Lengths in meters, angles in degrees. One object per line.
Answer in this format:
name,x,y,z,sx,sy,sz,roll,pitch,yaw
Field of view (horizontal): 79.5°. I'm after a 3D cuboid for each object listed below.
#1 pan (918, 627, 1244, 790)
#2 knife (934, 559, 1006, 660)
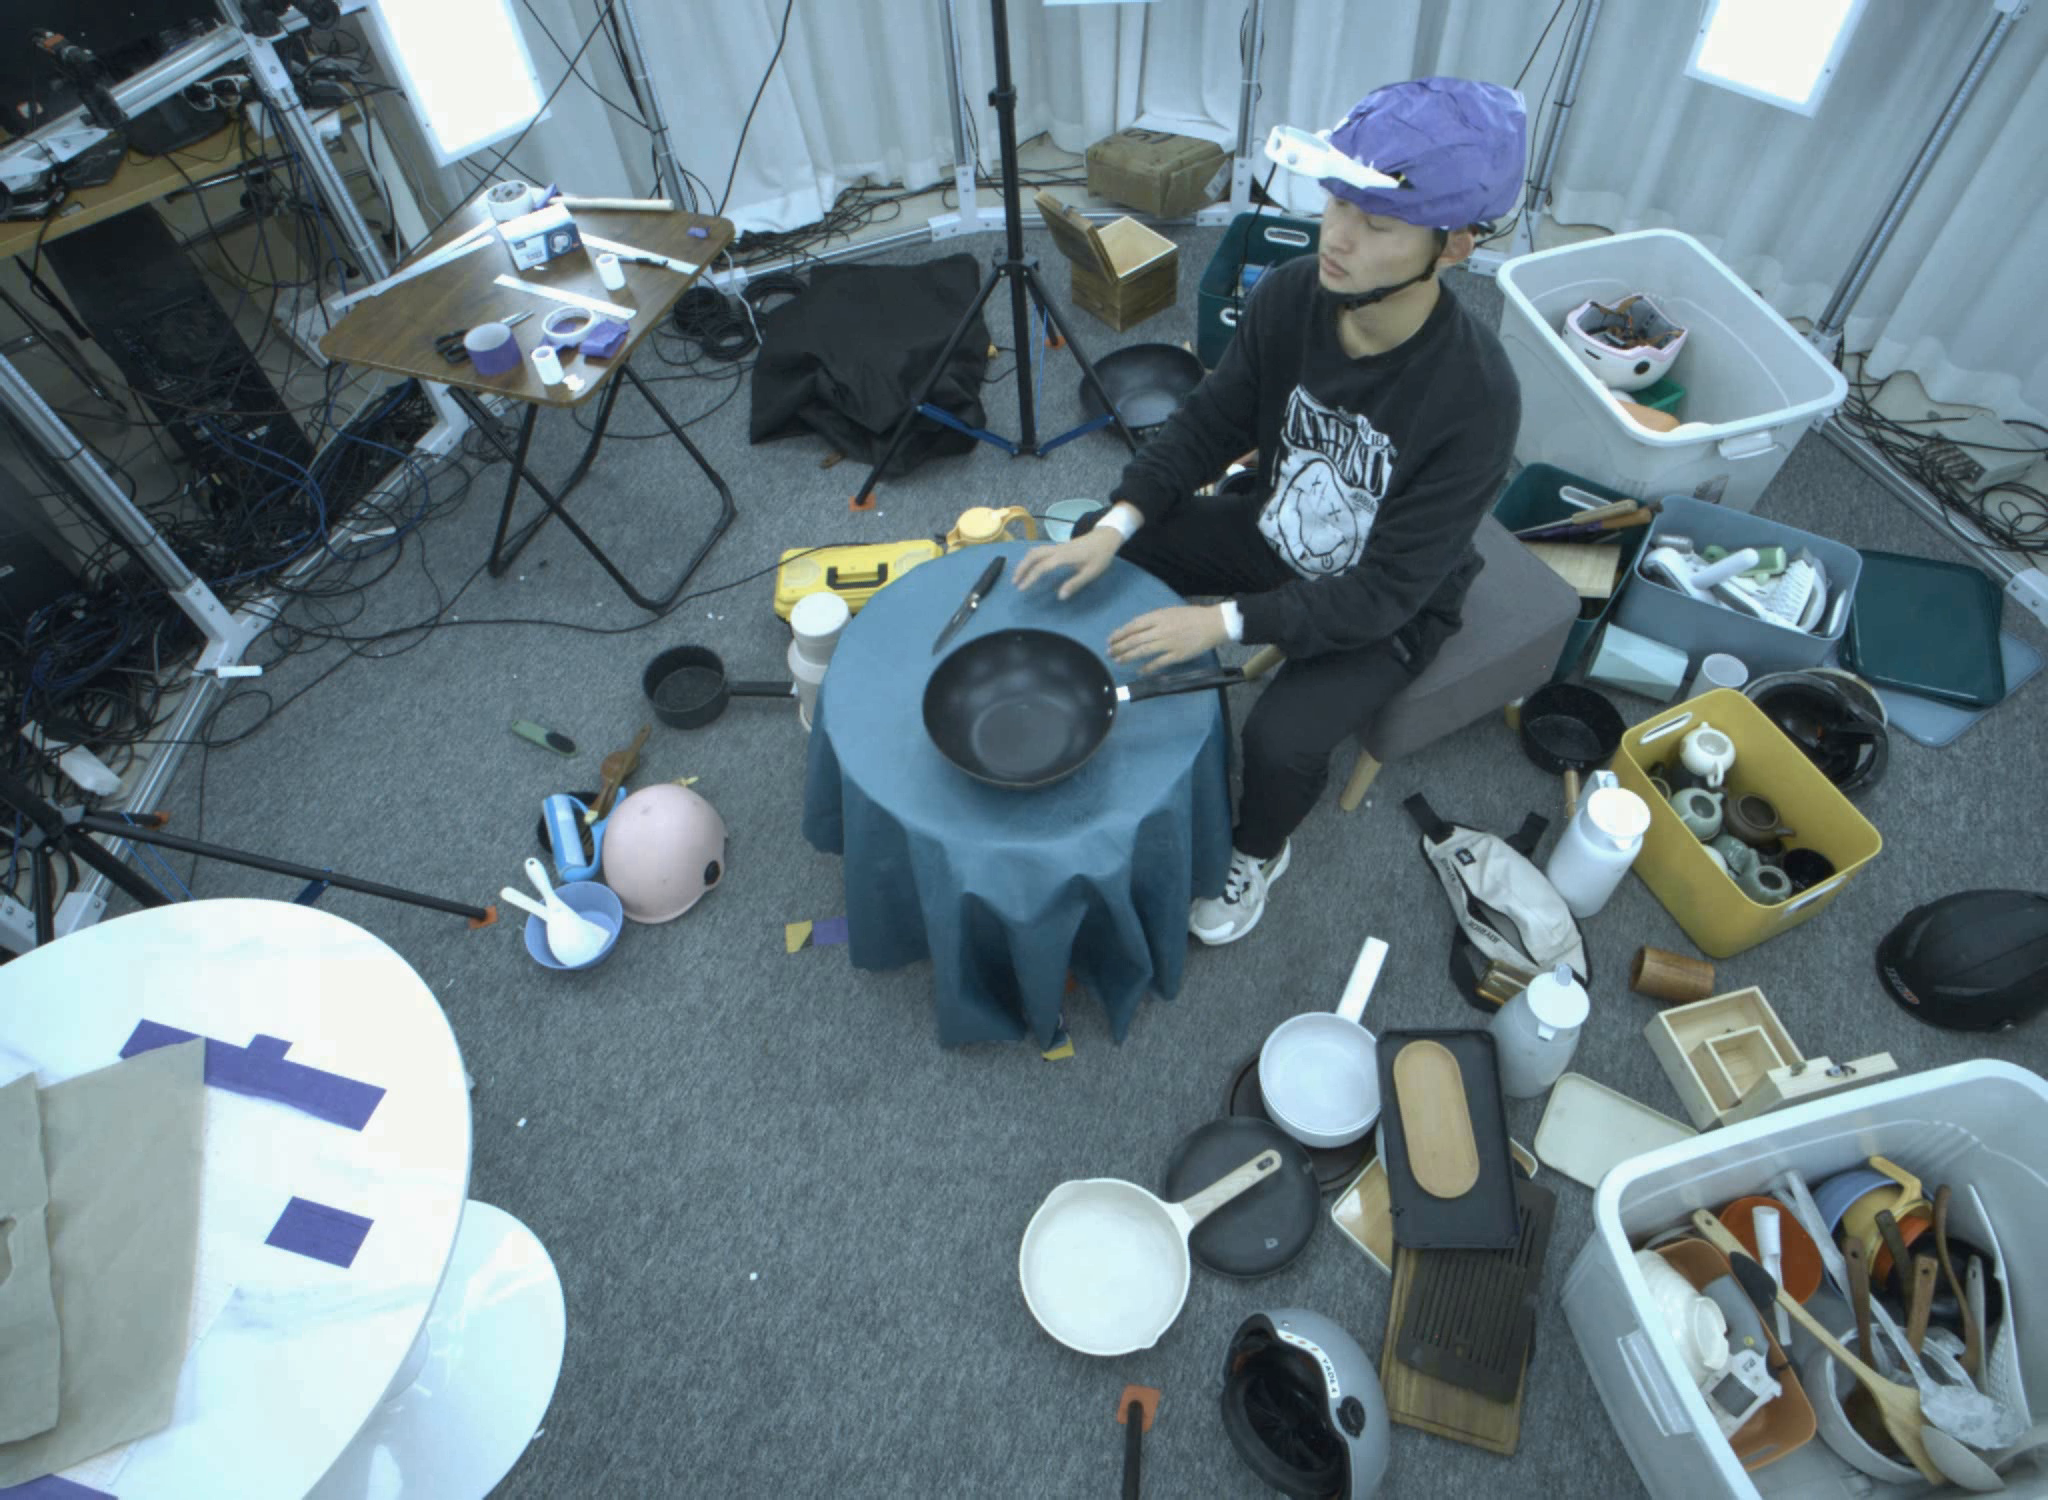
pan,0.082,-0.057,1.772,0.465,0.088,0.284,-7,55,-4
knife,-0.089,-0.225,1.941,0.026,0.017,0.226,29,60,8
